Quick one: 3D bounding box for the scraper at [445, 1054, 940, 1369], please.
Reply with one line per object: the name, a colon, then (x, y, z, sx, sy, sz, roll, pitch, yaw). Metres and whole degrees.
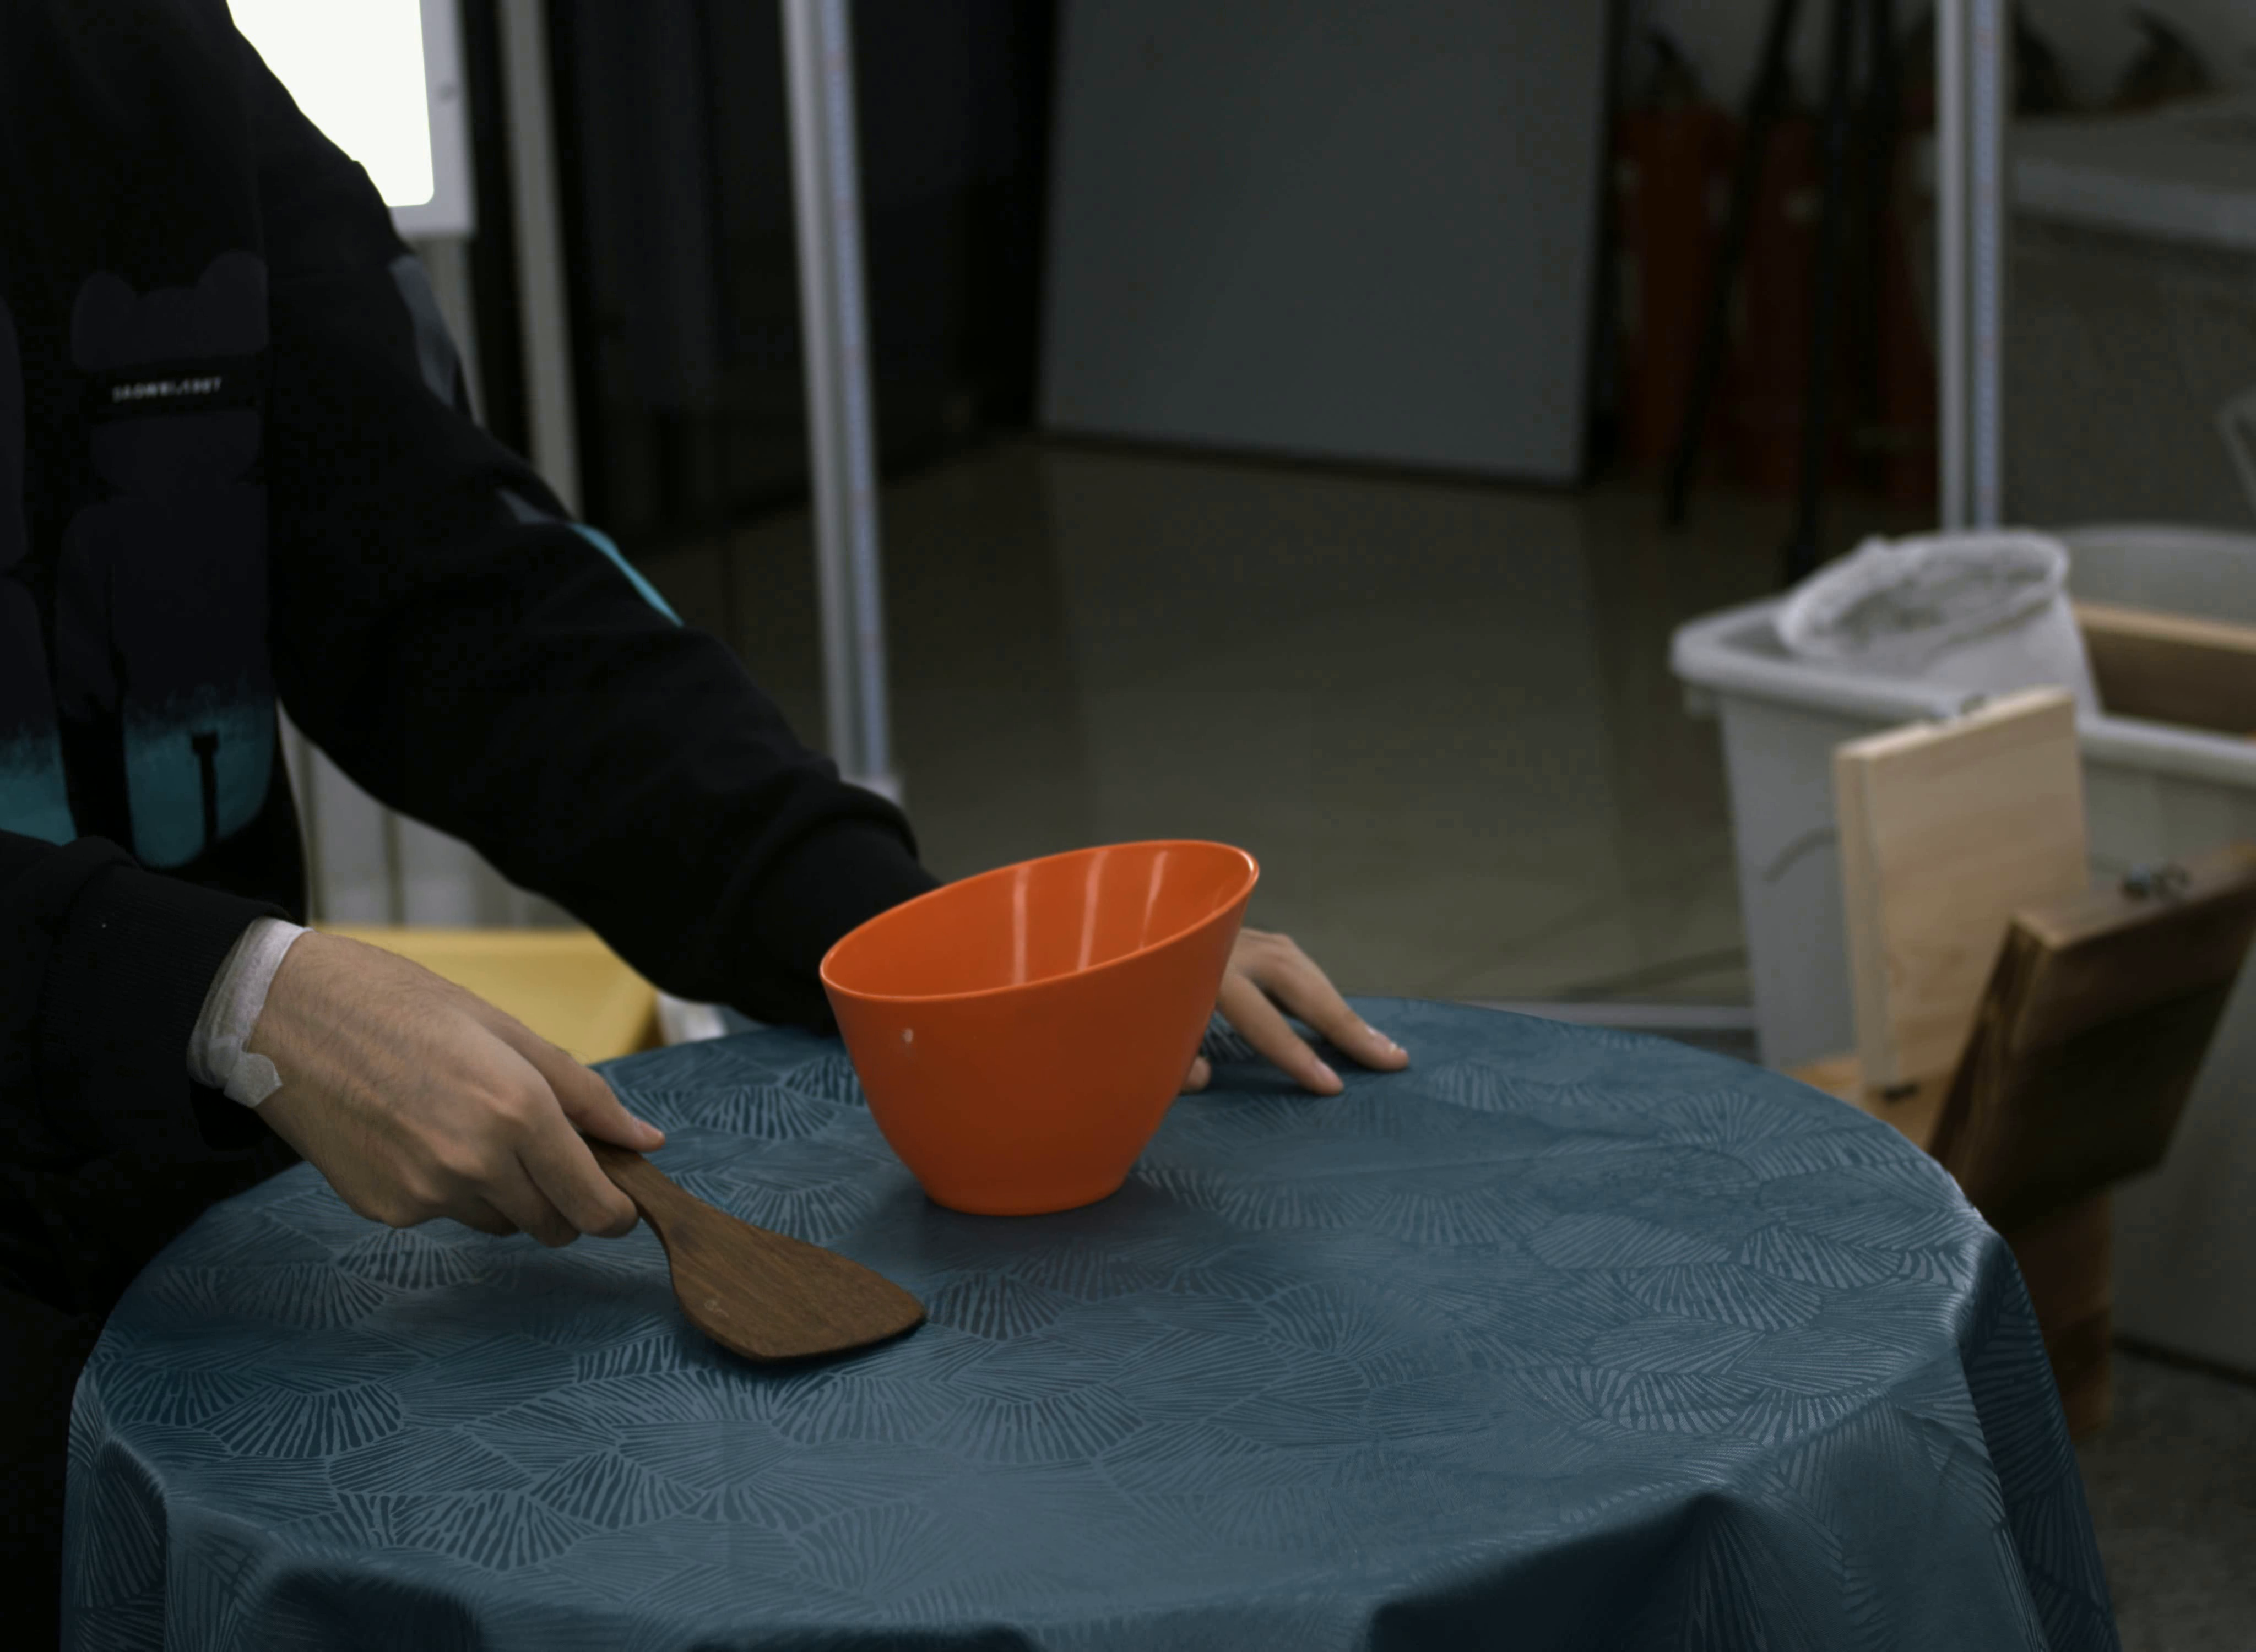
scraper: (-0.147, 0.120, 1.703, 0.074, 0.011, 0.213, -10, 30, -41)

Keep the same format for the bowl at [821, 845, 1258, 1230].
bowl: (-0.025, 0.072, 1.772, 0.146, 0.106, 0.148, -6, 14, 0)
